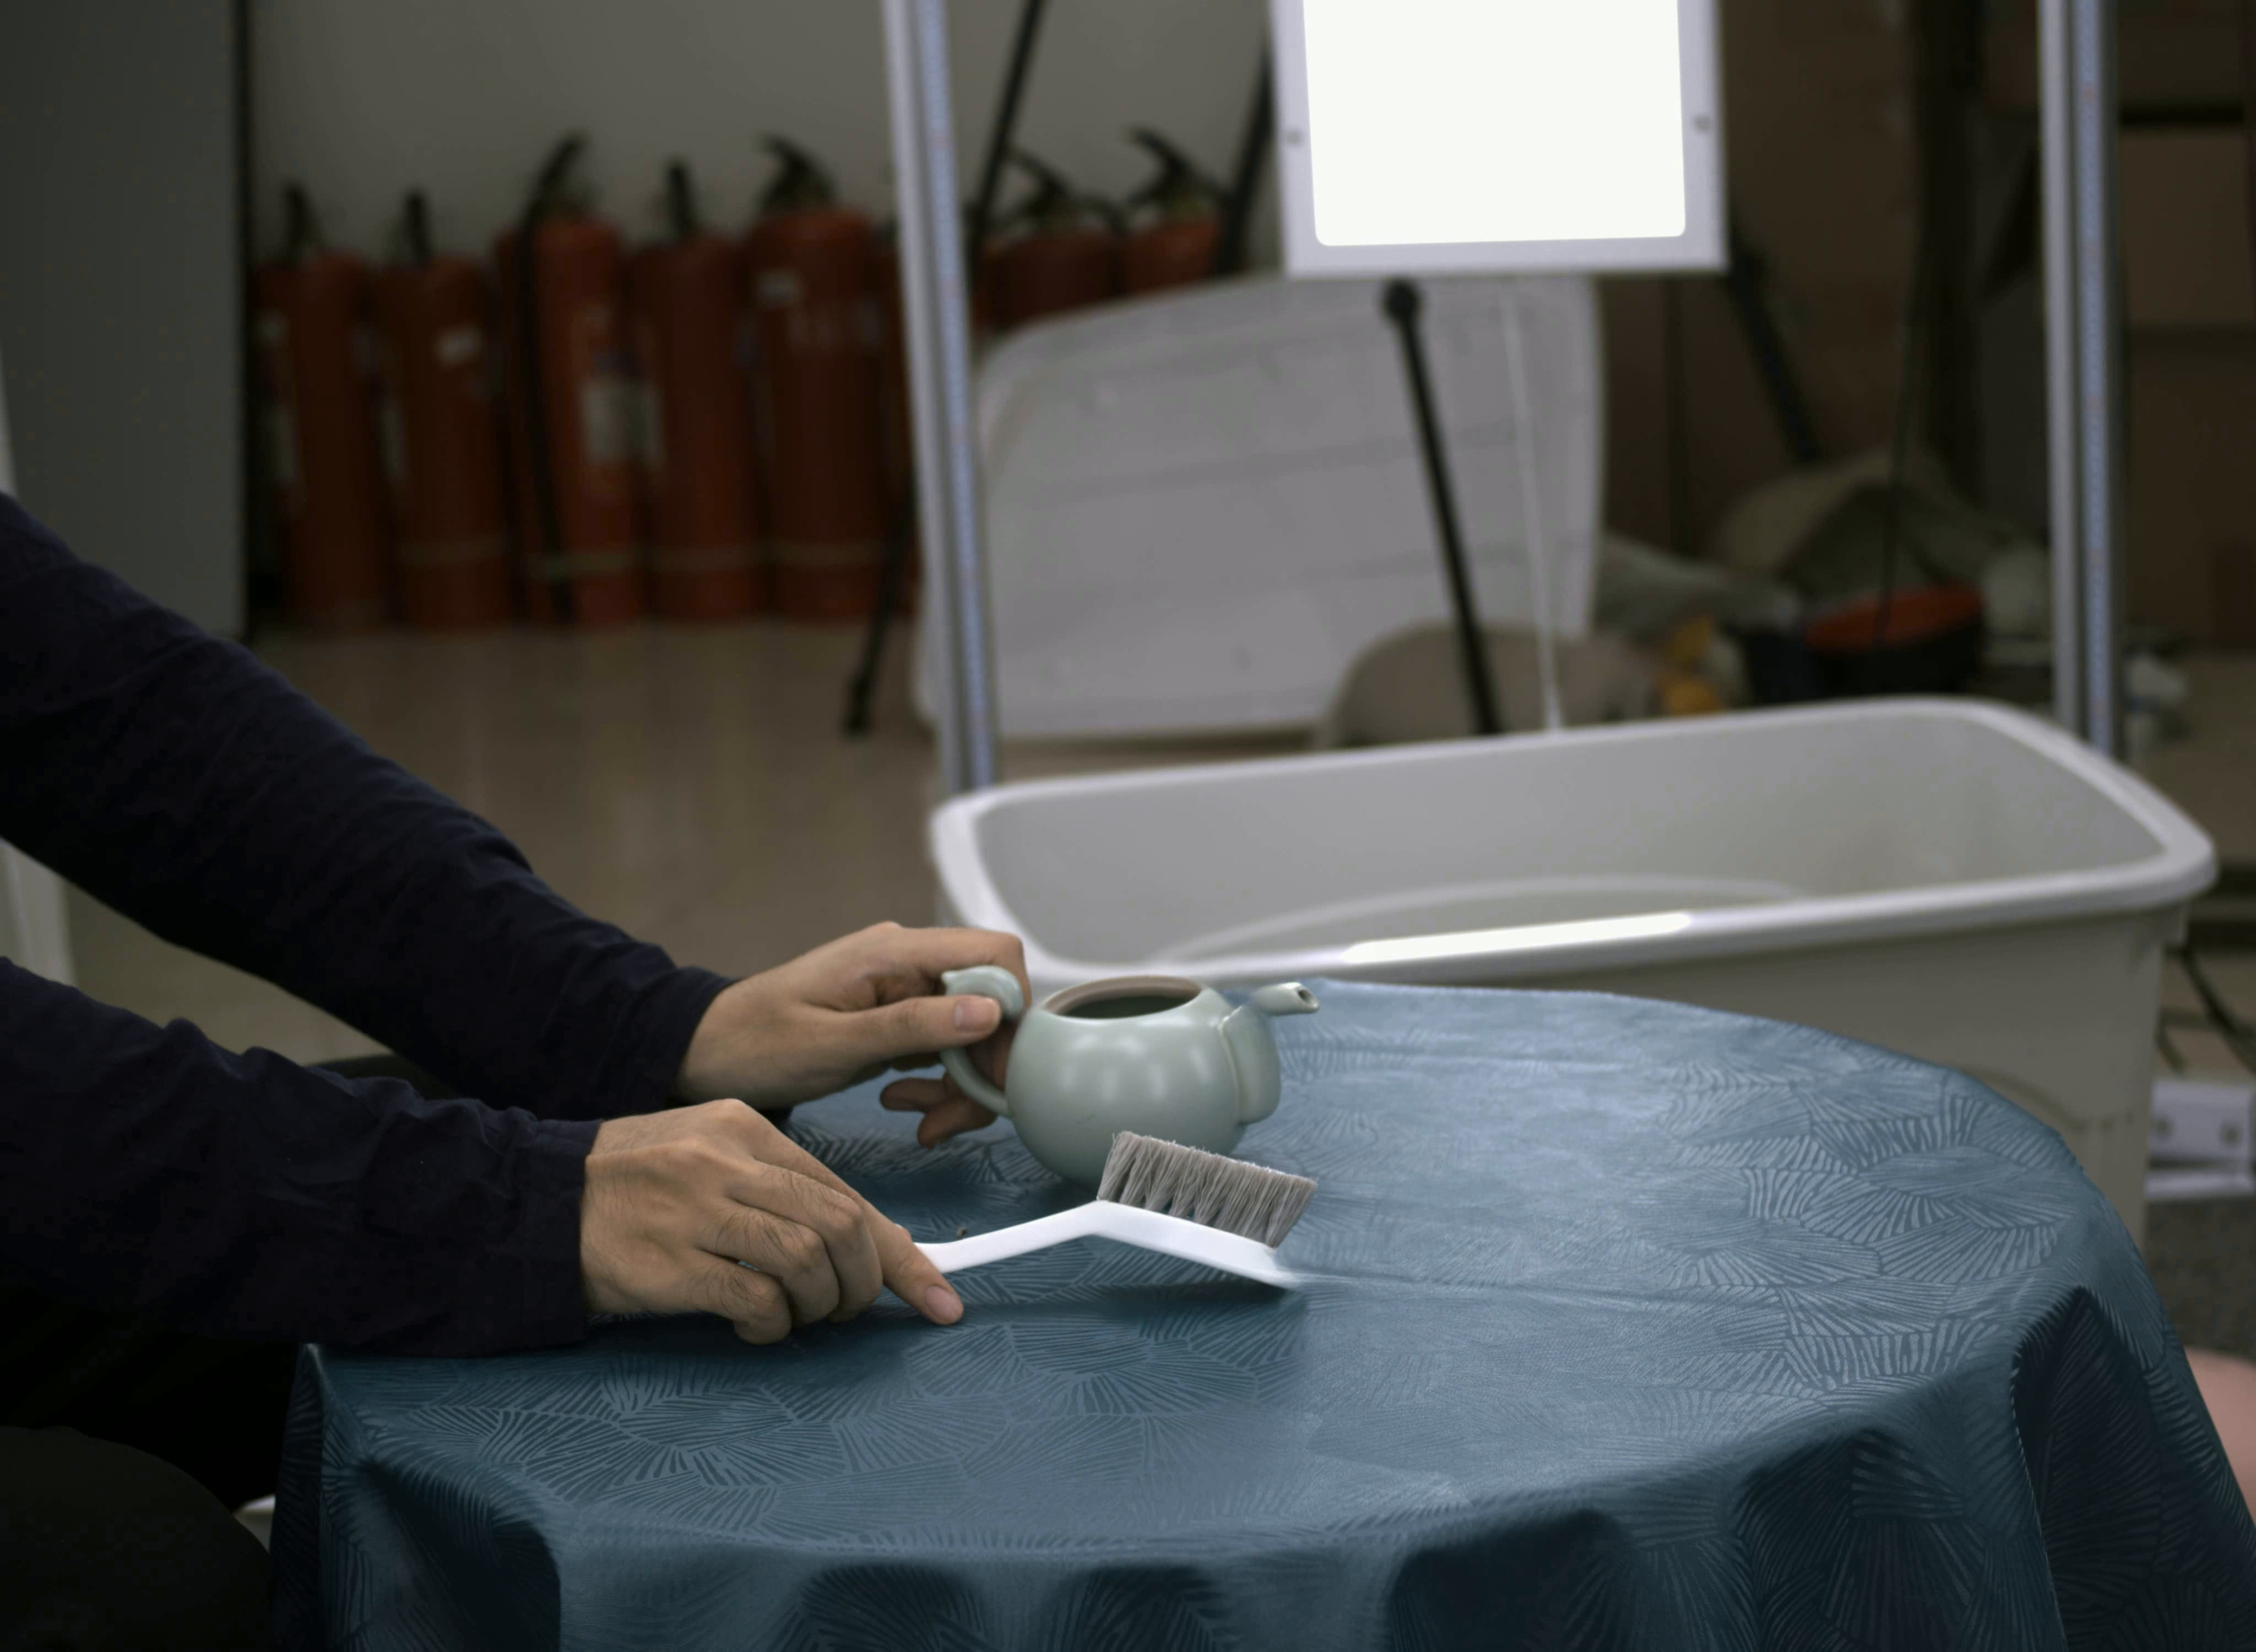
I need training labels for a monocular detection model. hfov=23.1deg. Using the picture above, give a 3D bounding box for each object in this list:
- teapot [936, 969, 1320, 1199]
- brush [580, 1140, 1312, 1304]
[{"bbox_3d":[0.001,0.088,1.906,0.146,0.075,0.086,3,17,26],"label":"teapot"},{"bbox_3d":[-0.061,0.129,1.797,0.245,0.050,0.034,-2,1,11],"label":"brush"}]
